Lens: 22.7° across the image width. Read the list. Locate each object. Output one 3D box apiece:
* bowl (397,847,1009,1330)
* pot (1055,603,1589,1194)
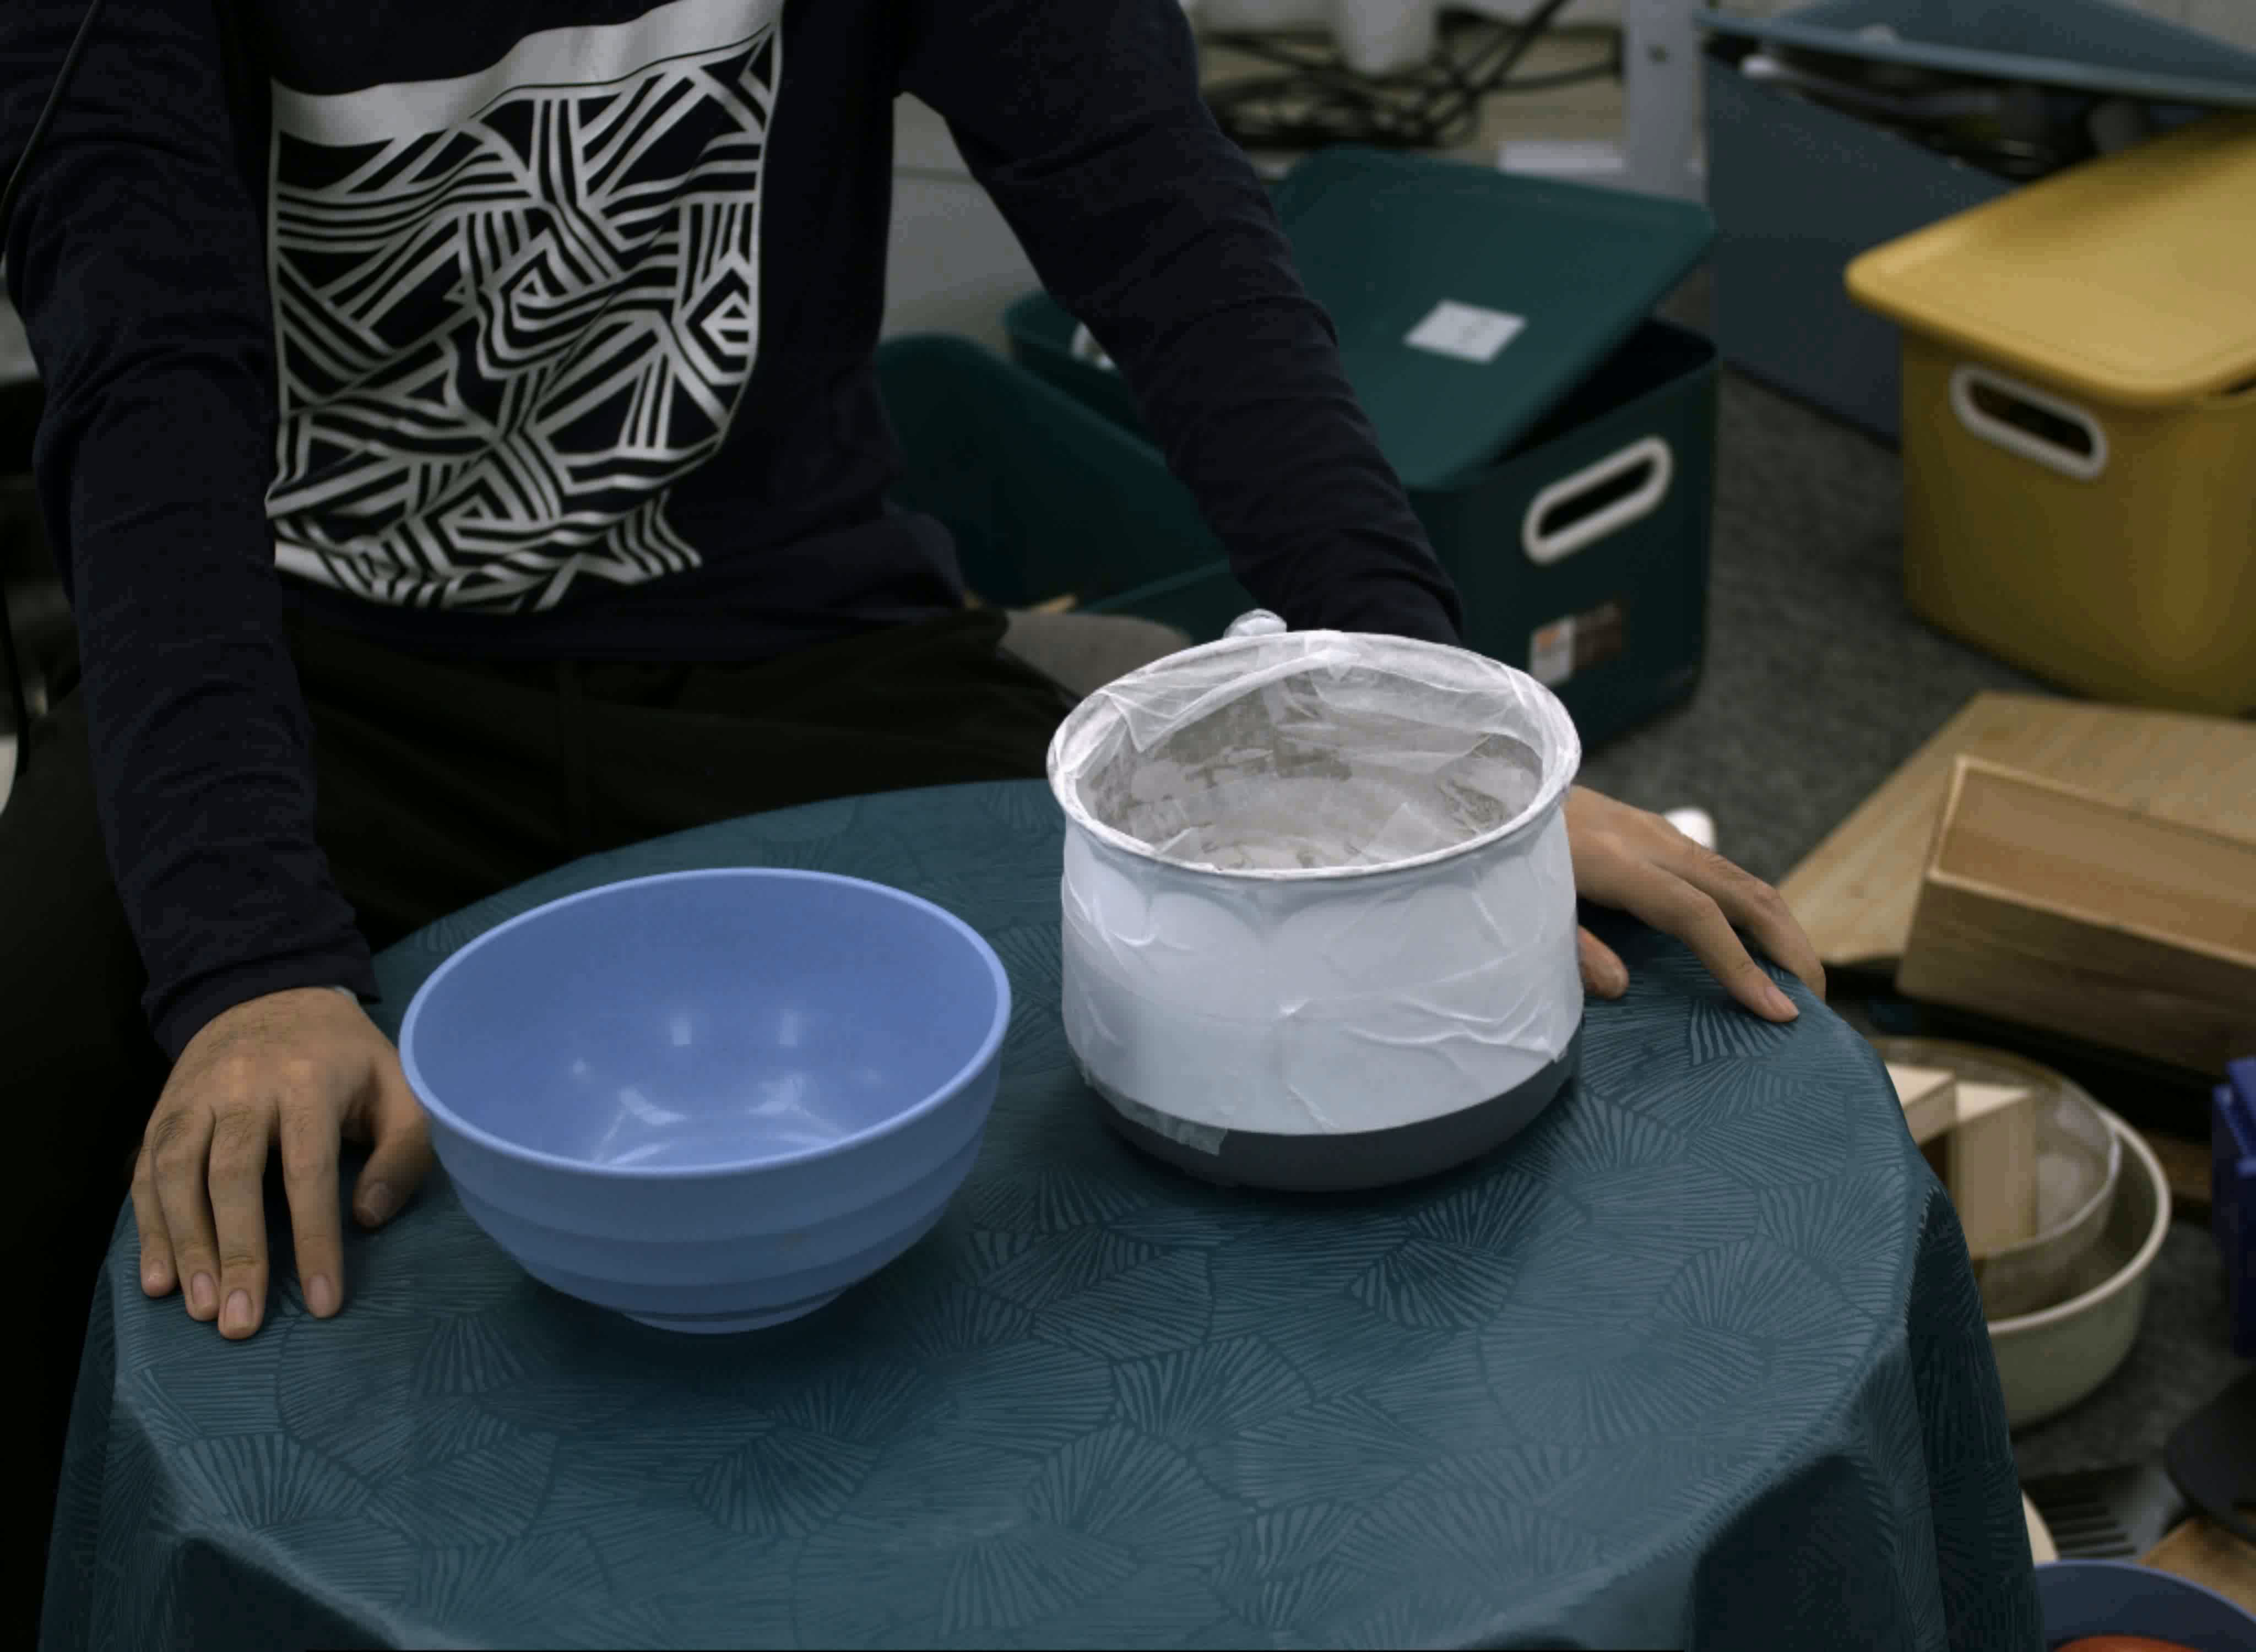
[{"bbox_3d":[-0.132,0.098,1.811,0.195,0.094,0.200,-3,31,2],"label":"bowl"},{"bbox_3d":[0.059,0.017,1.909,0.178,0.135,0.236,-5,28,-10],"label":"pot"}]
